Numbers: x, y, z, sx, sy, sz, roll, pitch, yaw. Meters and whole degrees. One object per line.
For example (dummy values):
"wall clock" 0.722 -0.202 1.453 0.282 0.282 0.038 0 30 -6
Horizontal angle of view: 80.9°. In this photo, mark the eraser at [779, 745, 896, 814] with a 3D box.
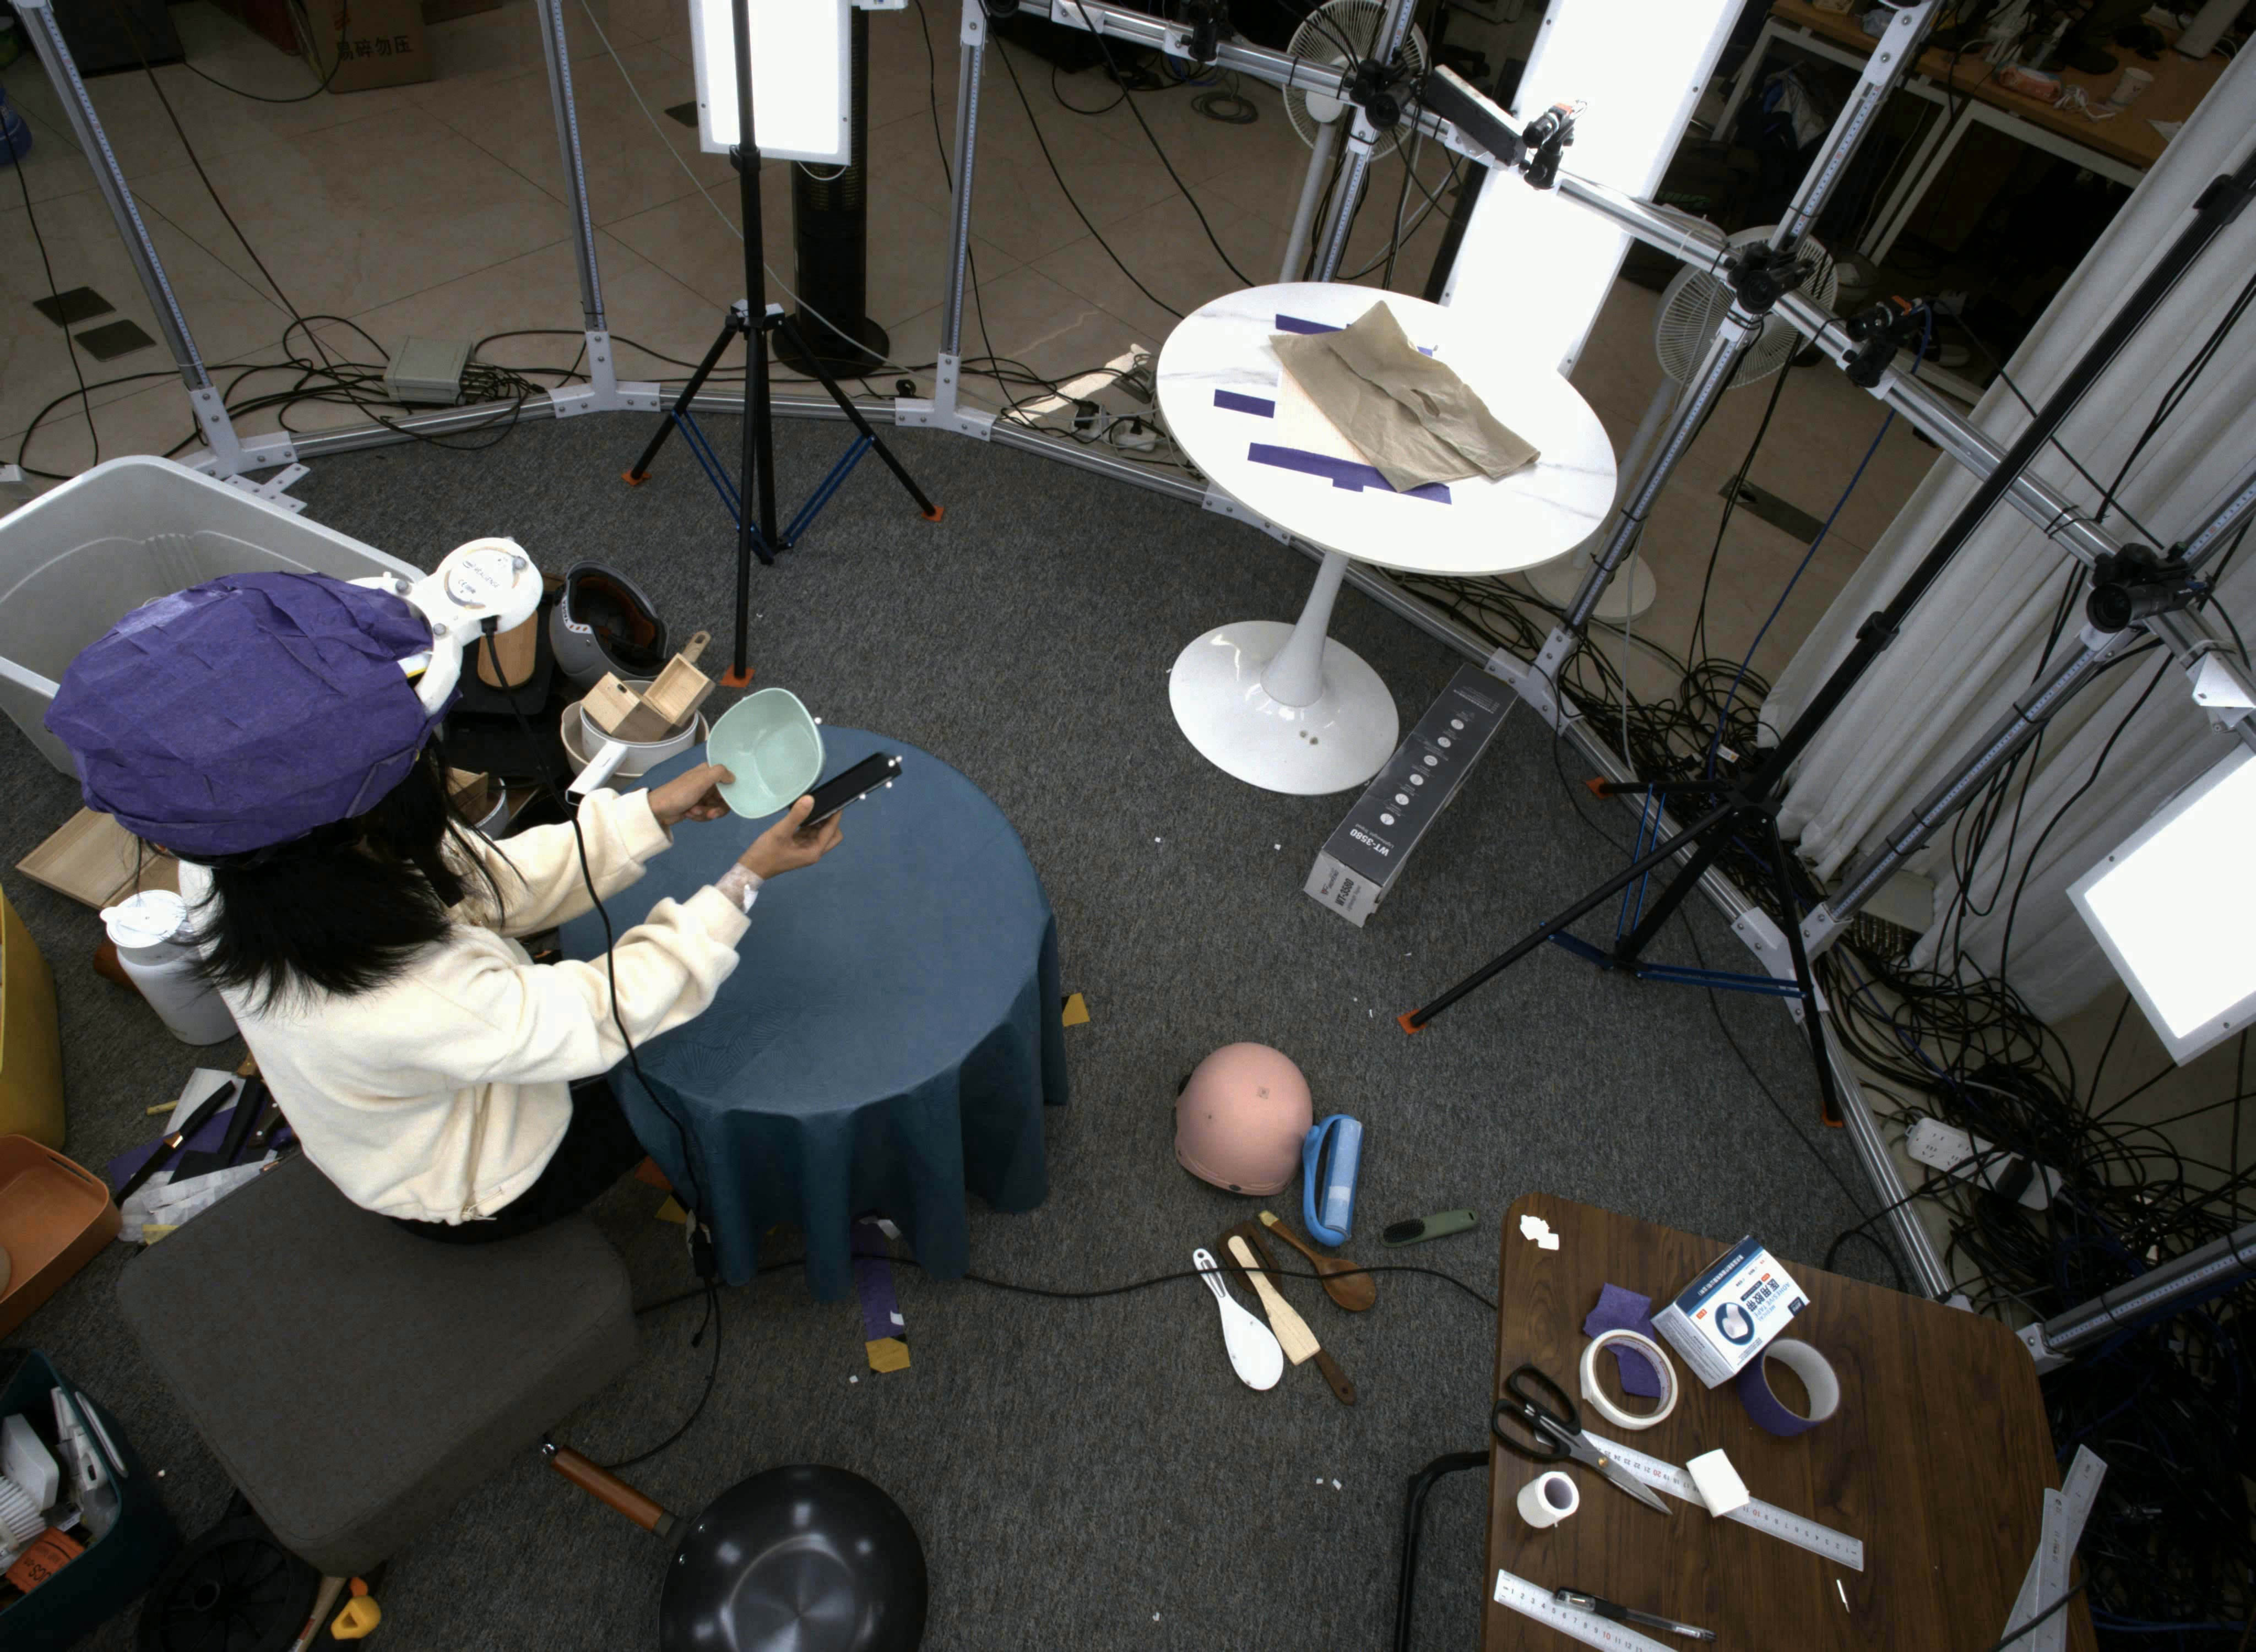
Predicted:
"eraser" -0.323 -0.053 1.443 0.124 0.053 0.031 -24 96 2

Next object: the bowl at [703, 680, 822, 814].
"bowl" -0.404 -0.084 1.466 0.148 0.060 0.152 -2 82 14
